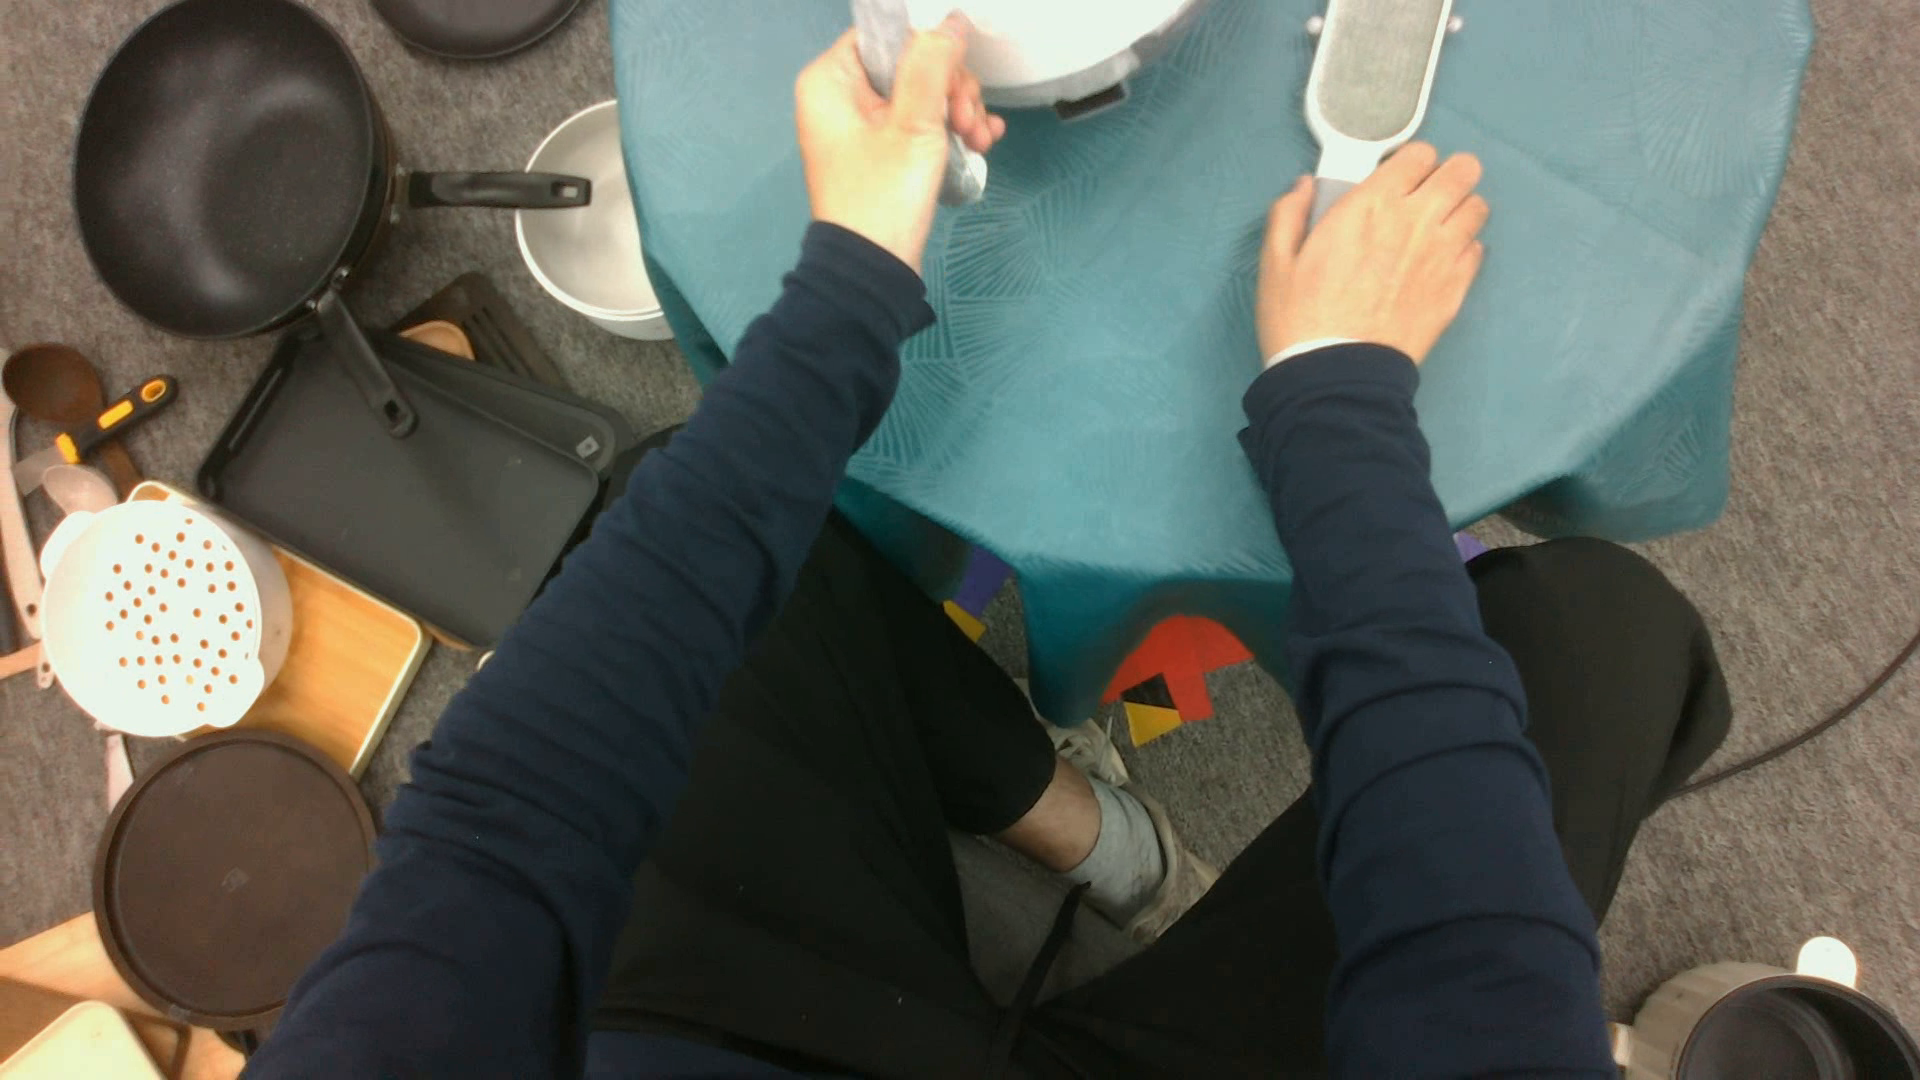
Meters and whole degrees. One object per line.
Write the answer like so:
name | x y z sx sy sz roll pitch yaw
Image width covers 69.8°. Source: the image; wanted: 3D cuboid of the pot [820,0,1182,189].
pot | 0.014 -0.278 0.602 0.178 0.136 0.234 16 75 38

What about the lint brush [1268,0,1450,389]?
lint brush | 0.196 -0.219 0.670 0.060 0.021 0.309 17 81 -3
